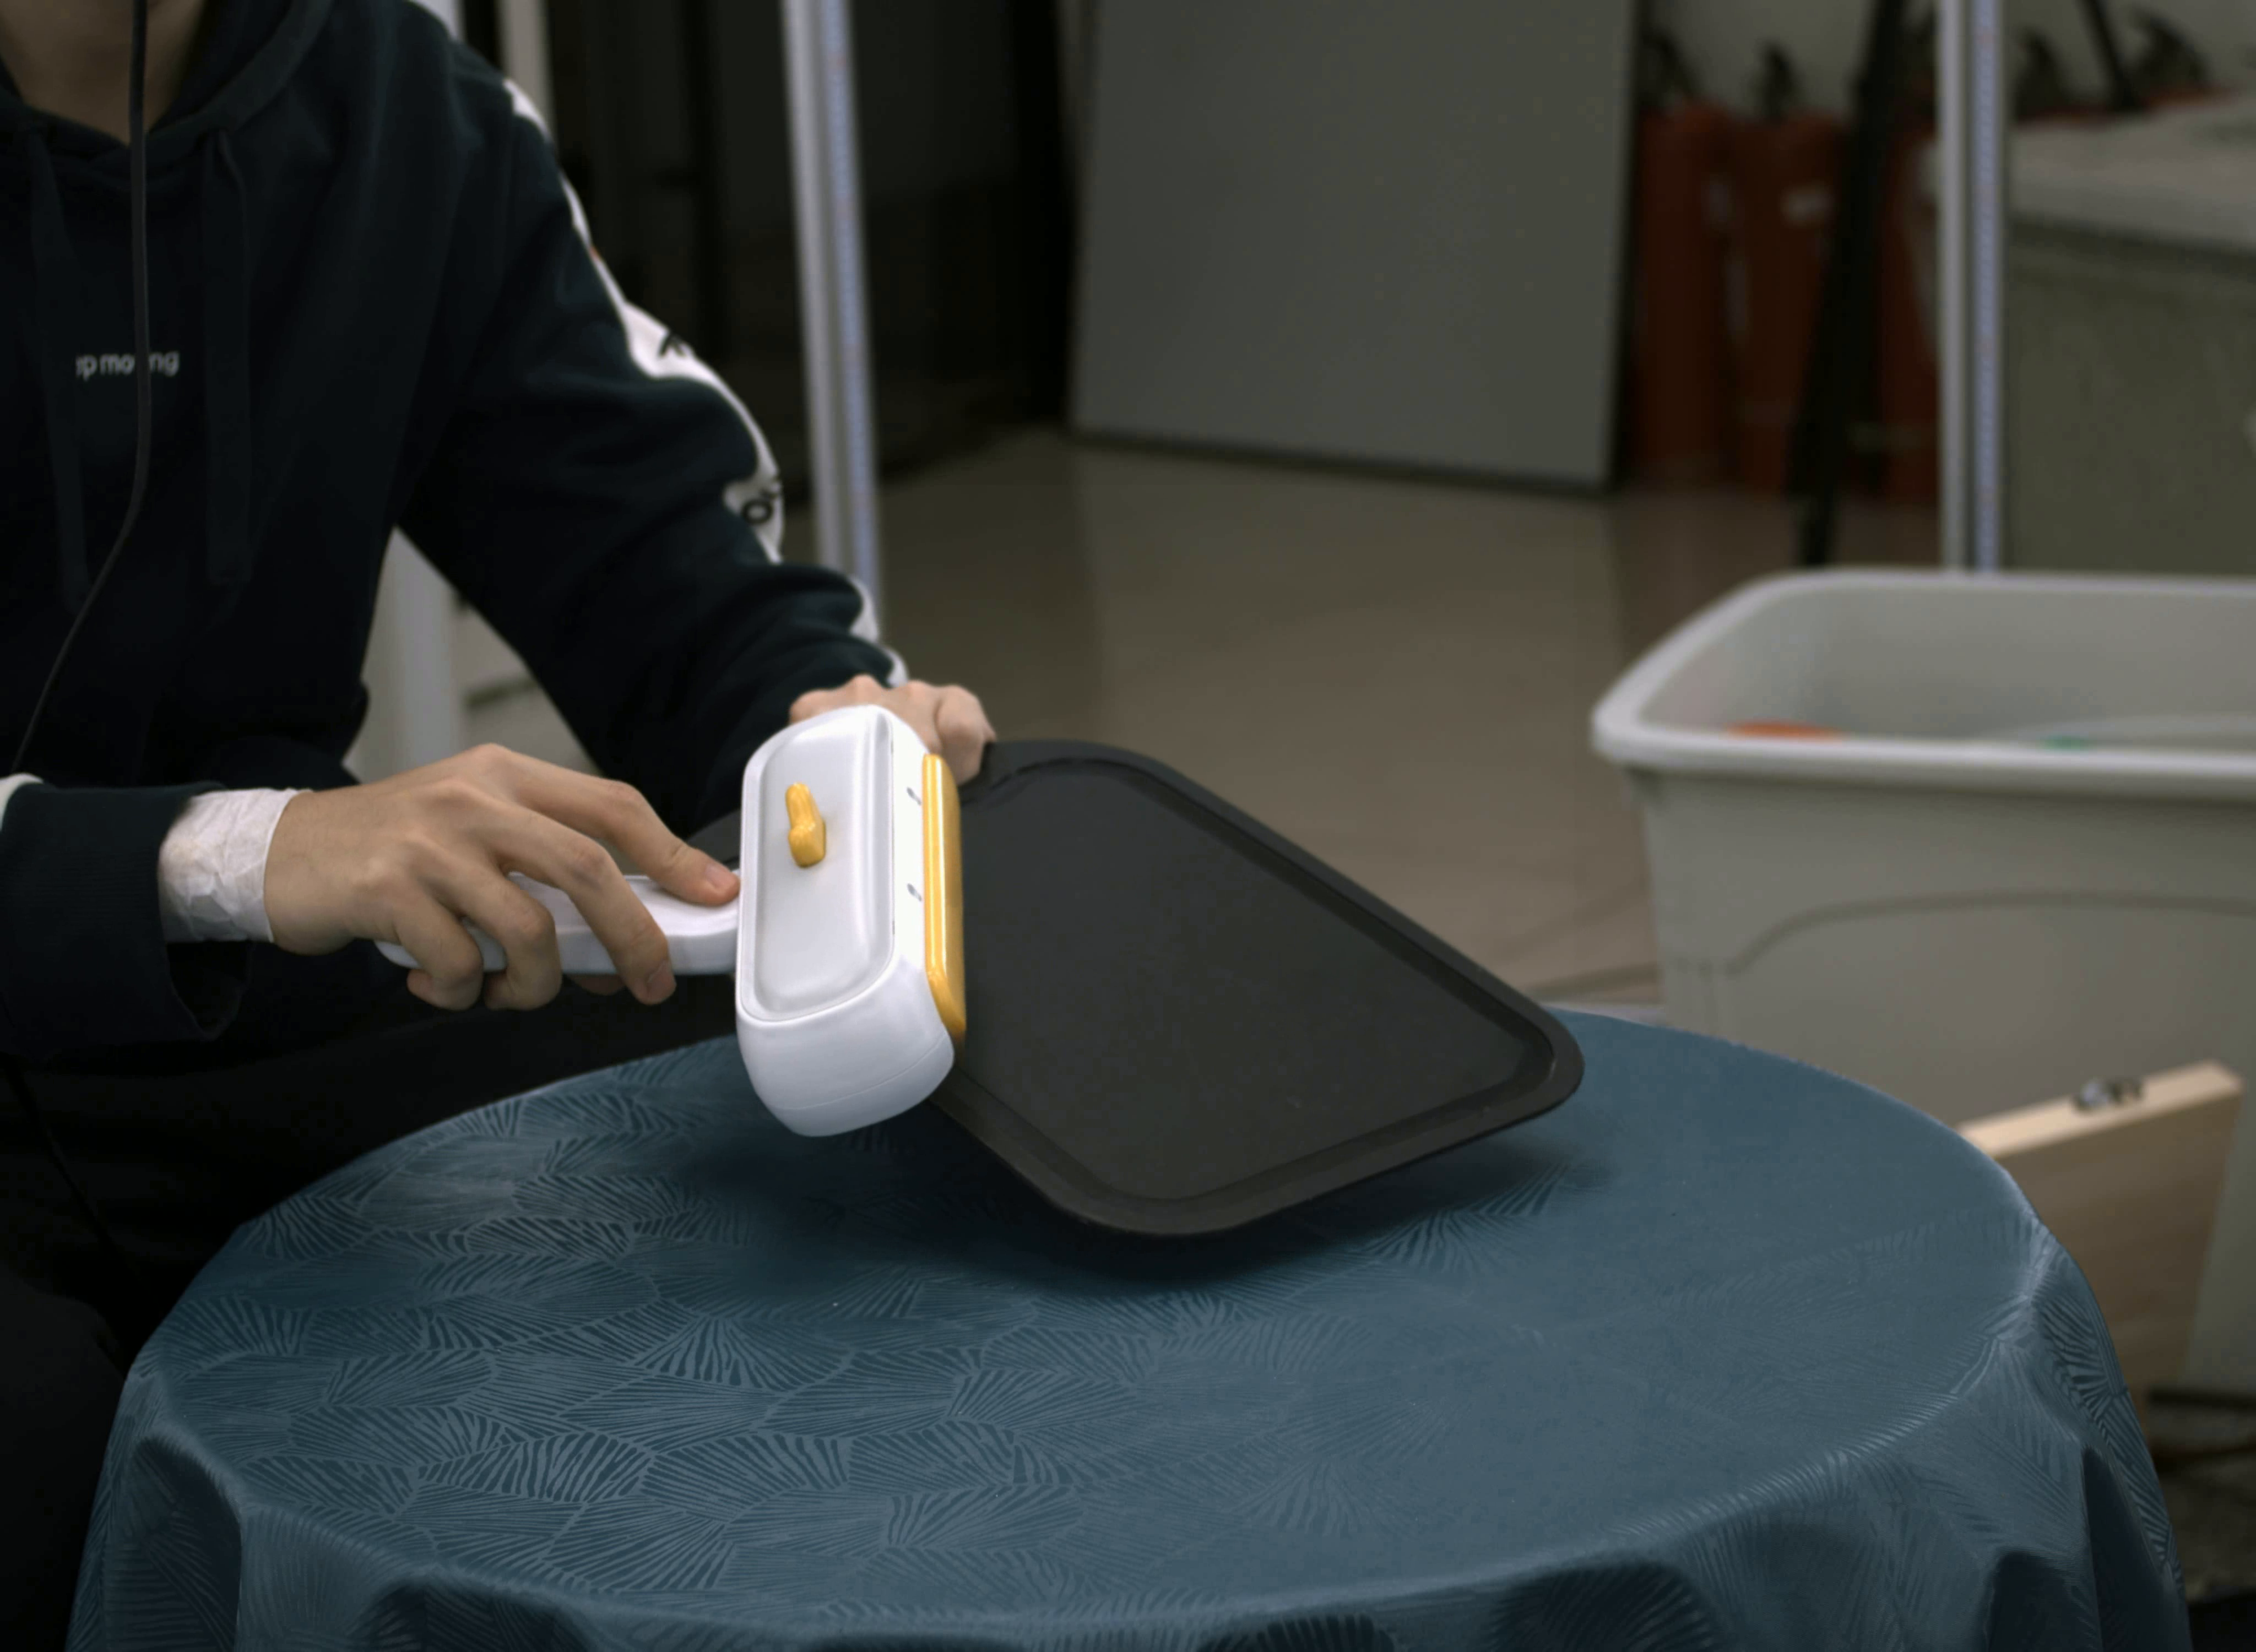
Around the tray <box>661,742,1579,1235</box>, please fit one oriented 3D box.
[{"bbox_3d":[-0.012,0.045,1.820,0.207,0.010,0.329,-17,33,-31],"label":"tray"}]

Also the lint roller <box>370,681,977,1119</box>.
[{"bbox_3d":[-0.149,0.031,1.762,0.190,0.074,0.194,-14,37,3],"label":"lint roller"}]
